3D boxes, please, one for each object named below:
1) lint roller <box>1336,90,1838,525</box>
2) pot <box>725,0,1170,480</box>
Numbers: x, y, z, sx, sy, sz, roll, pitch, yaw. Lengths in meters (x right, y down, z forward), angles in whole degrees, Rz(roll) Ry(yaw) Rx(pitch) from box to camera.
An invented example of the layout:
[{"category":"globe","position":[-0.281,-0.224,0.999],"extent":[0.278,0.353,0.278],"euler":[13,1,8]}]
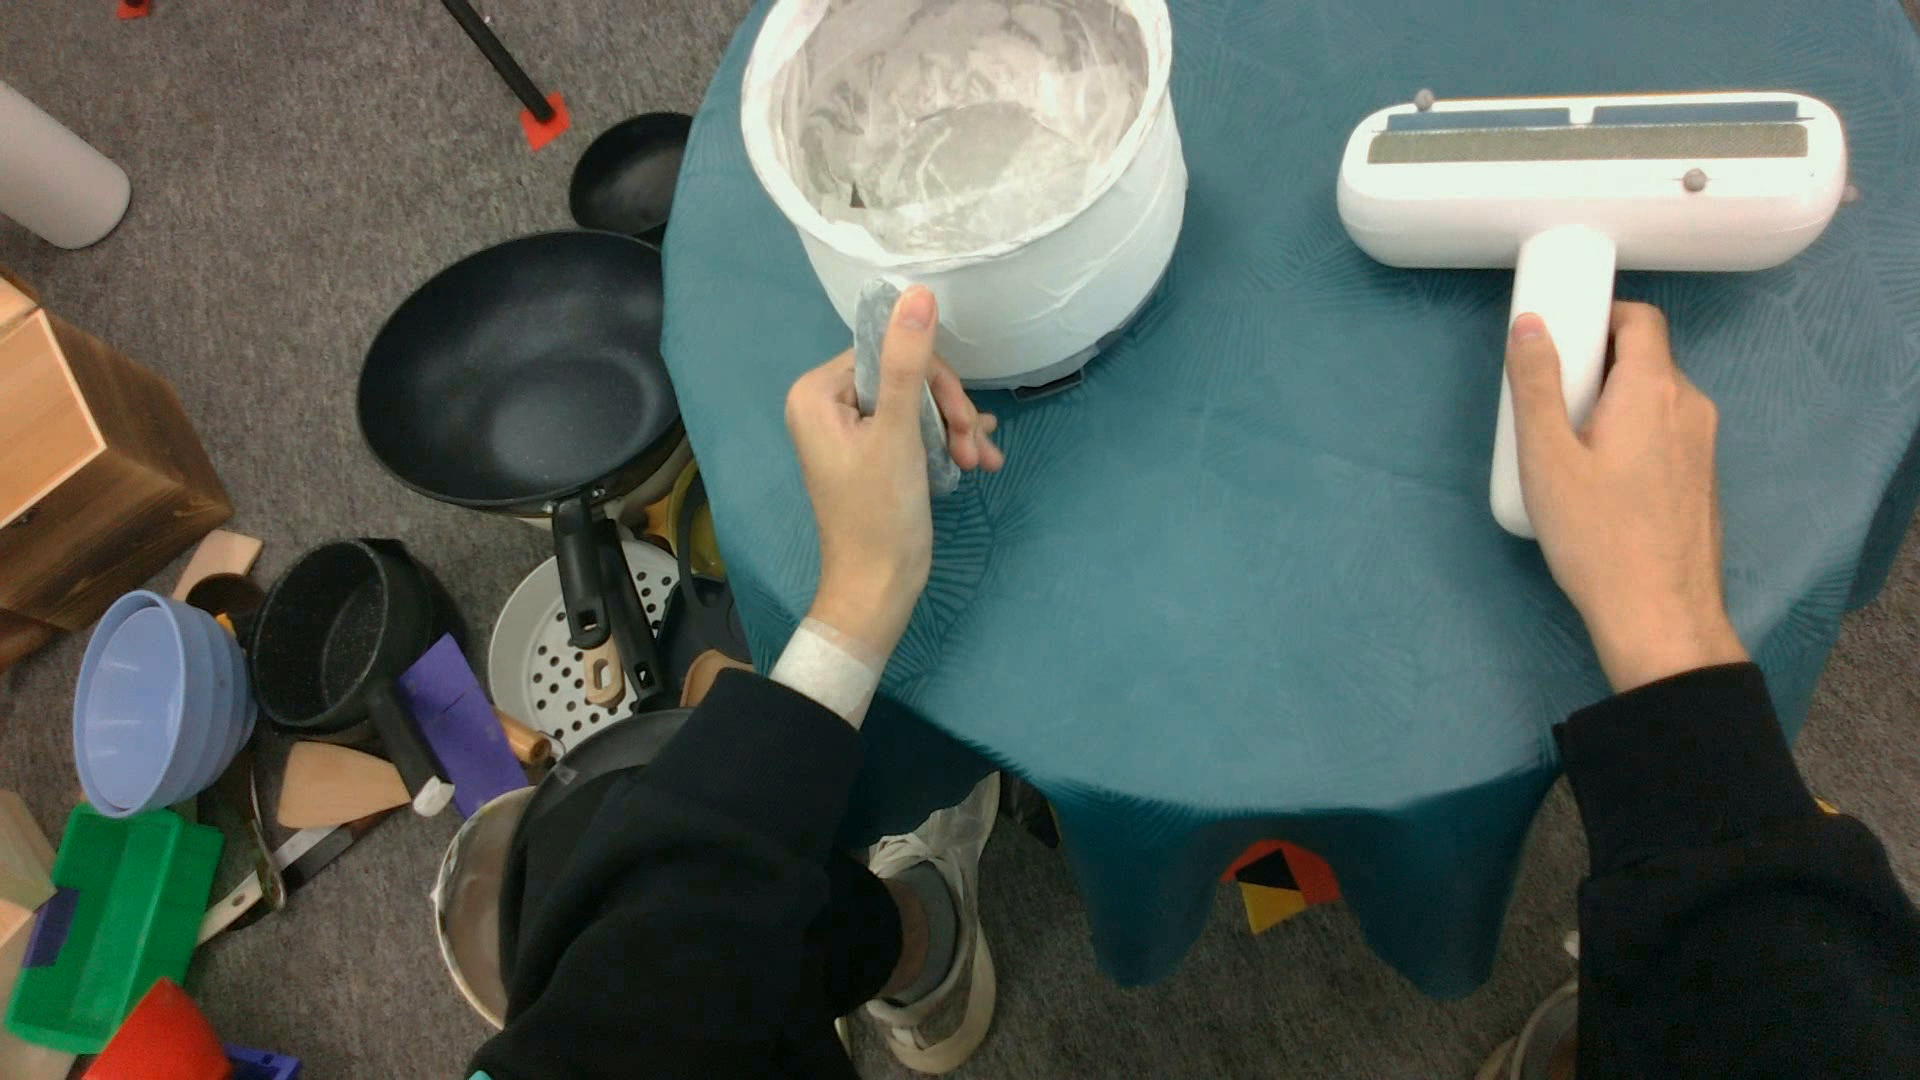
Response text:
[{"category":"lint roller","position":[0.242,-0.101,0.570],"extent":[0.192,0.074,0.193],"euler":[11,68,22]},{"category":"pot","position":[-0.005,-0.149,0.606],"extent":[0.178,0.136,0.234],"euler":[9,72,17]}]
